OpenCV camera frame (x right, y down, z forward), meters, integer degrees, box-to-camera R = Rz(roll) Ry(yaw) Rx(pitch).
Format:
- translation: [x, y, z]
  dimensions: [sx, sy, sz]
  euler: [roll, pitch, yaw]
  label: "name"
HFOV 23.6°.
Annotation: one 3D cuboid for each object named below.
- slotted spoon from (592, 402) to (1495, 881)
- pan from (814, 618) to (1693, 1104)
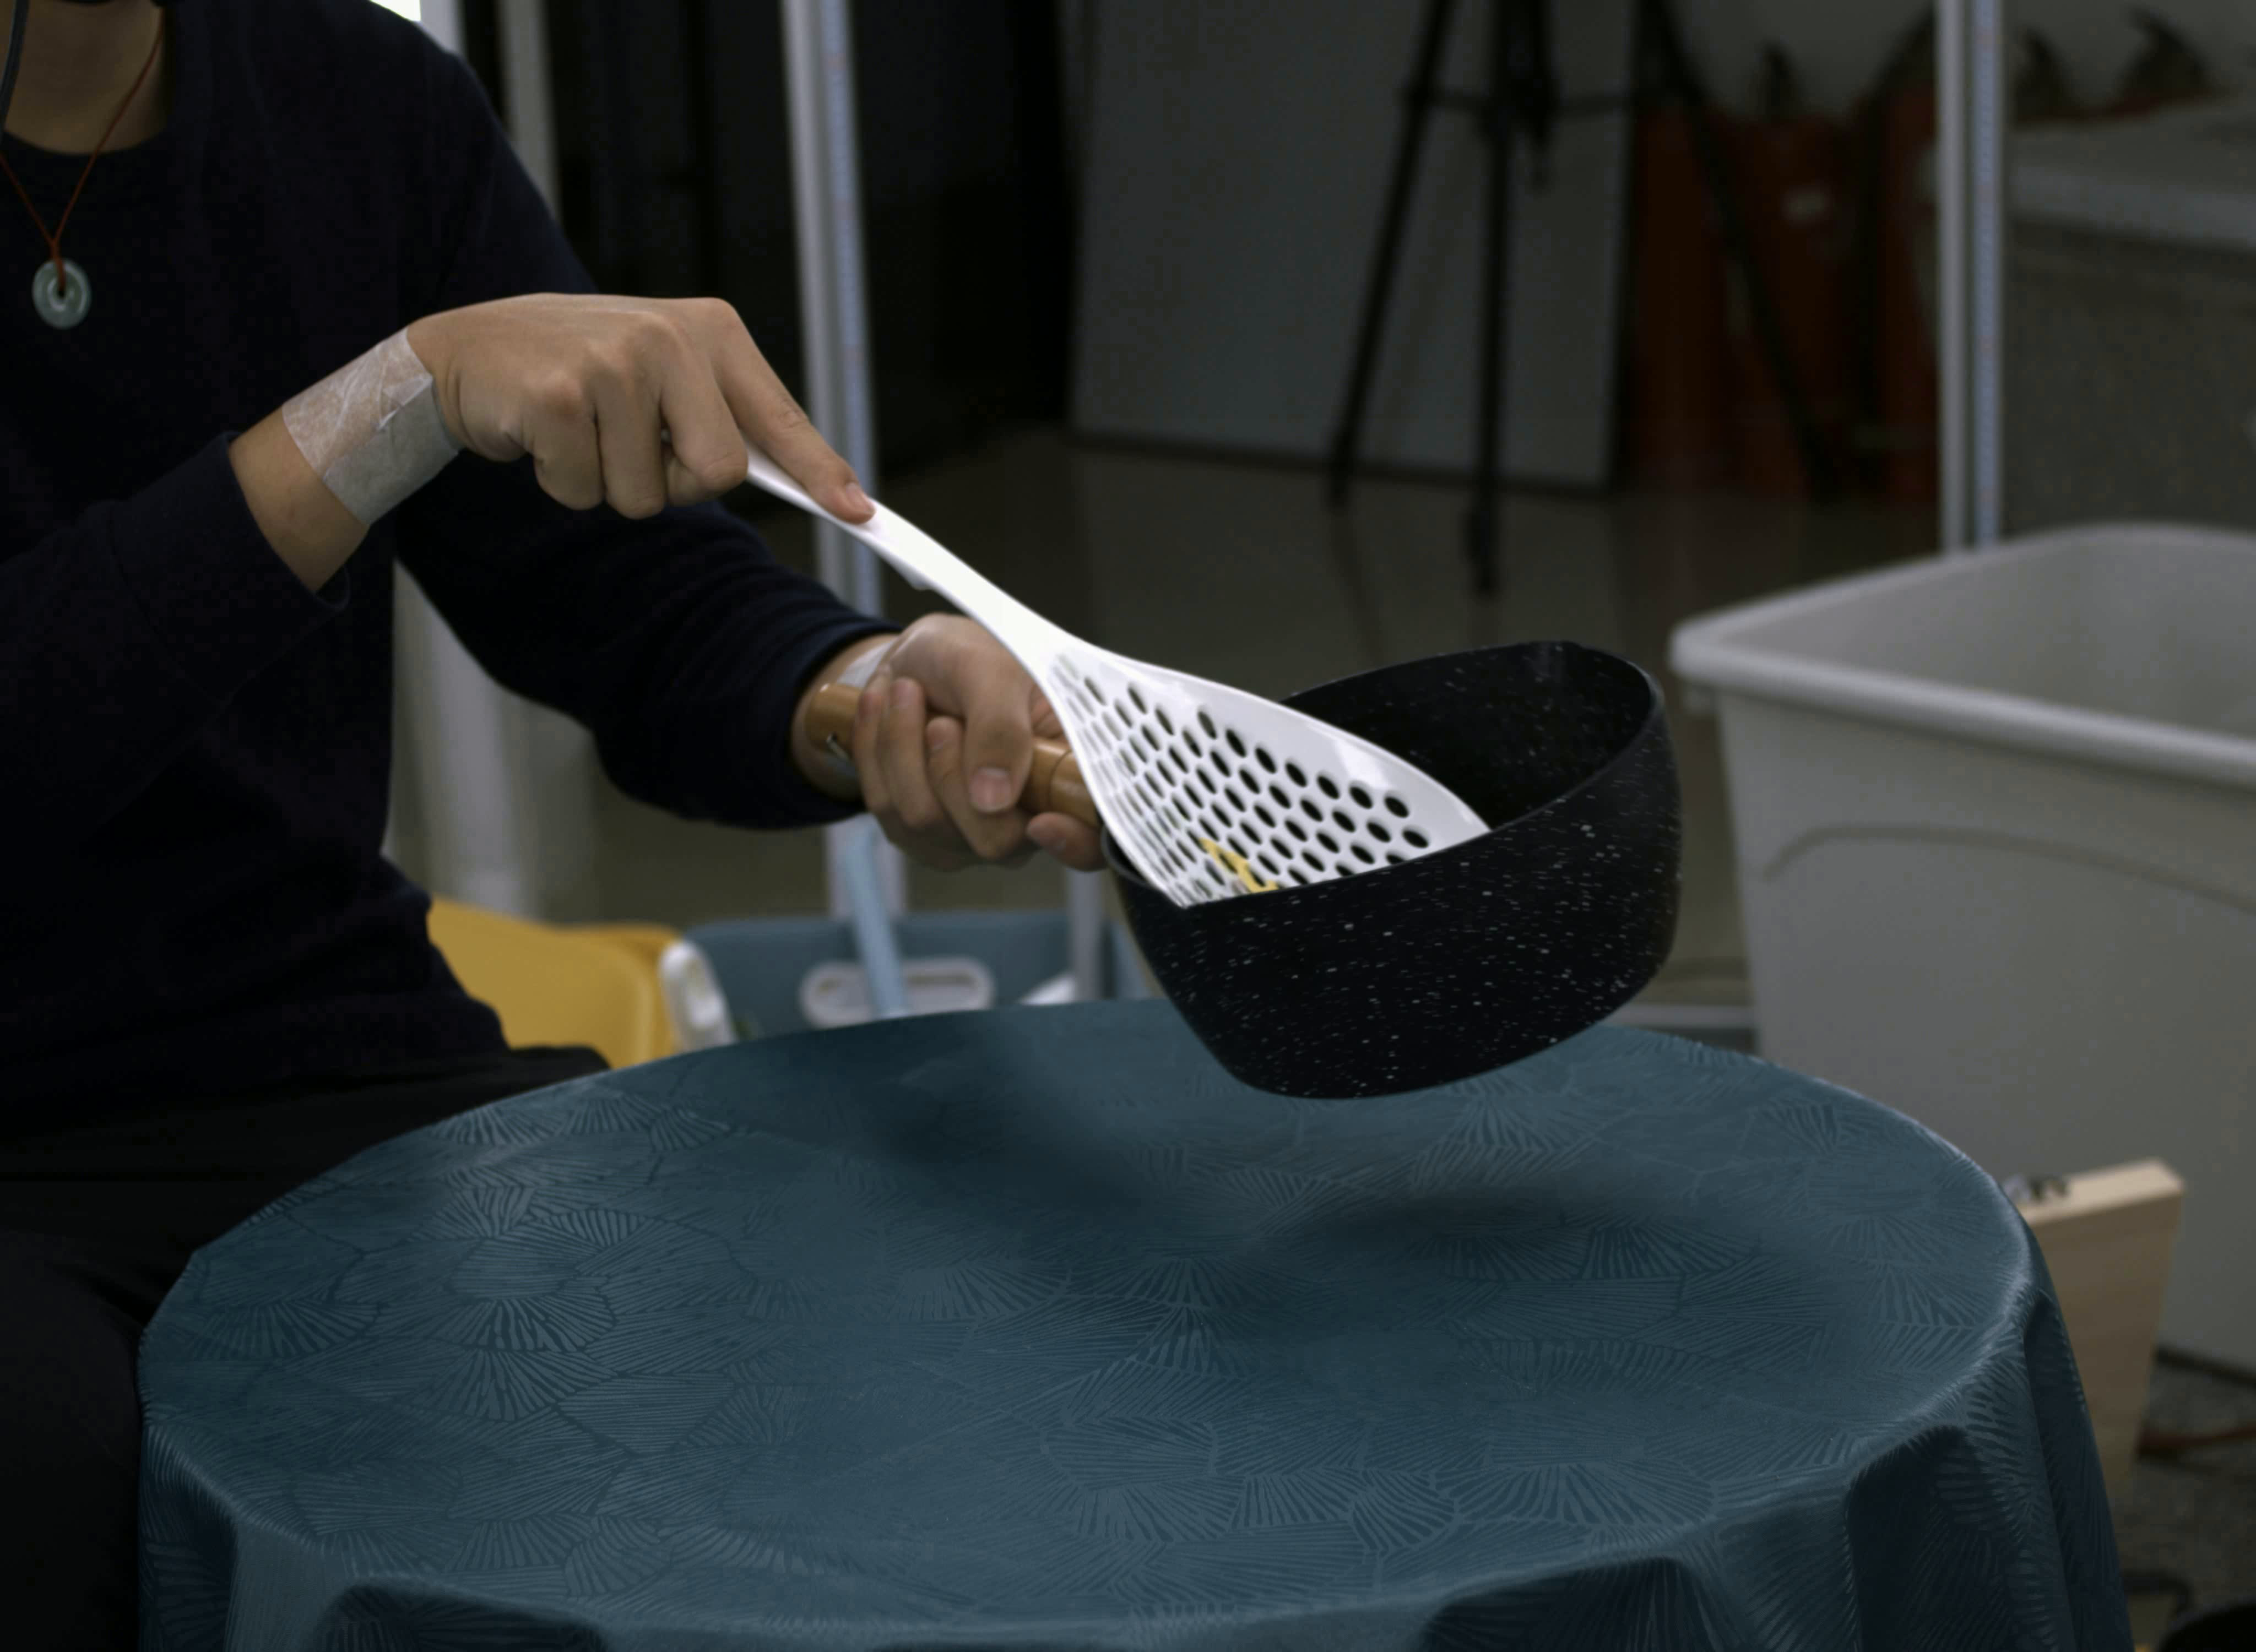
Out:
- translation: [-0.024, -0.047, 1.737]
  dimensions: [0.348, 0.051, 0.135]
  euler: [38, 41, 6]
  label: "slotted spoon"
- translation: [0.031, 0.004, 1.755]
  dimensions: [0.345, 0.109, 0.204]
  euler: [2, 28, 42]
  label: "pan"
